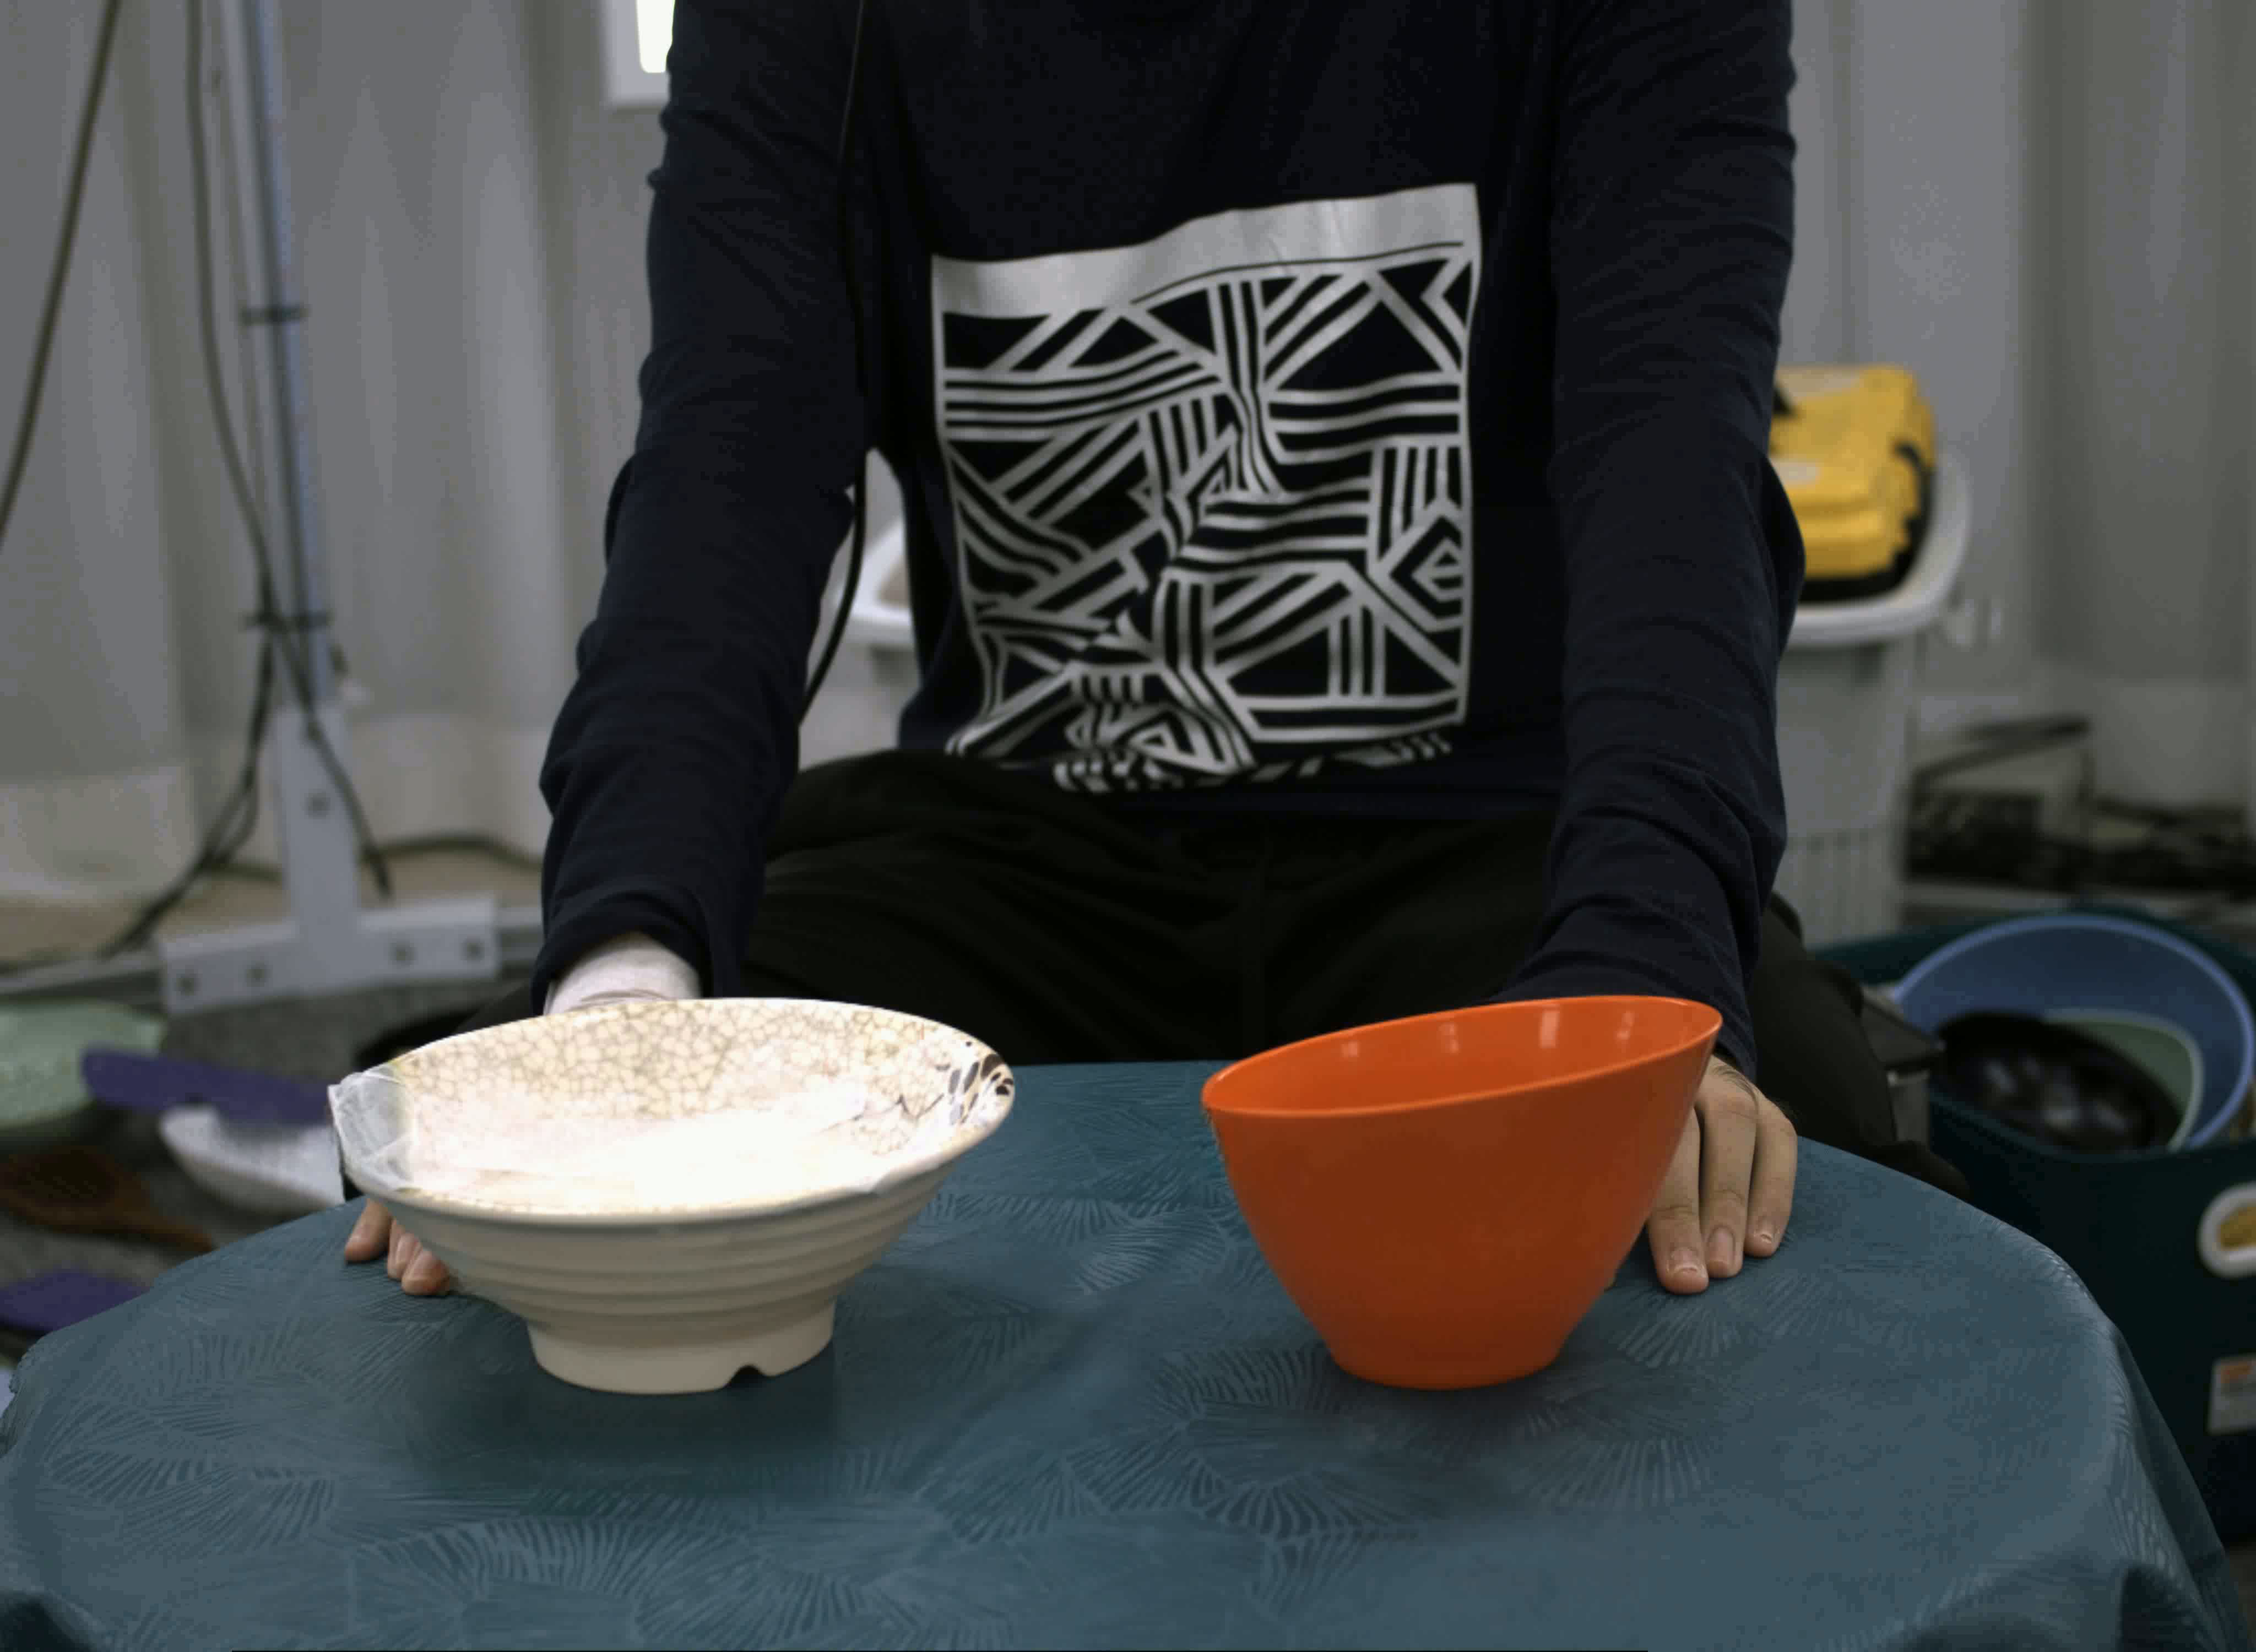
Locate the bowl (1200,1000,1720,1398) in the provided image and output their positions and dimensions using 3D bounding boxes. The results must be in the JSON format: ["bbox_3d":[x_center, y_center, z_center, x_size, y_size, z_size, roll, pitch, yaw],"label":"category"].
[{"bbox_3d":[0.095,0.105,1.544,0.147,0.104,0.149,-4,13,1],"label":"bowl"}]

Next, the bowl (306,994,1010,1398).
[{"bbox_3d":[-0.134,0.115,1.593,0.203,0.077,0.205,-2,15,0],"label":"bowl"}]
